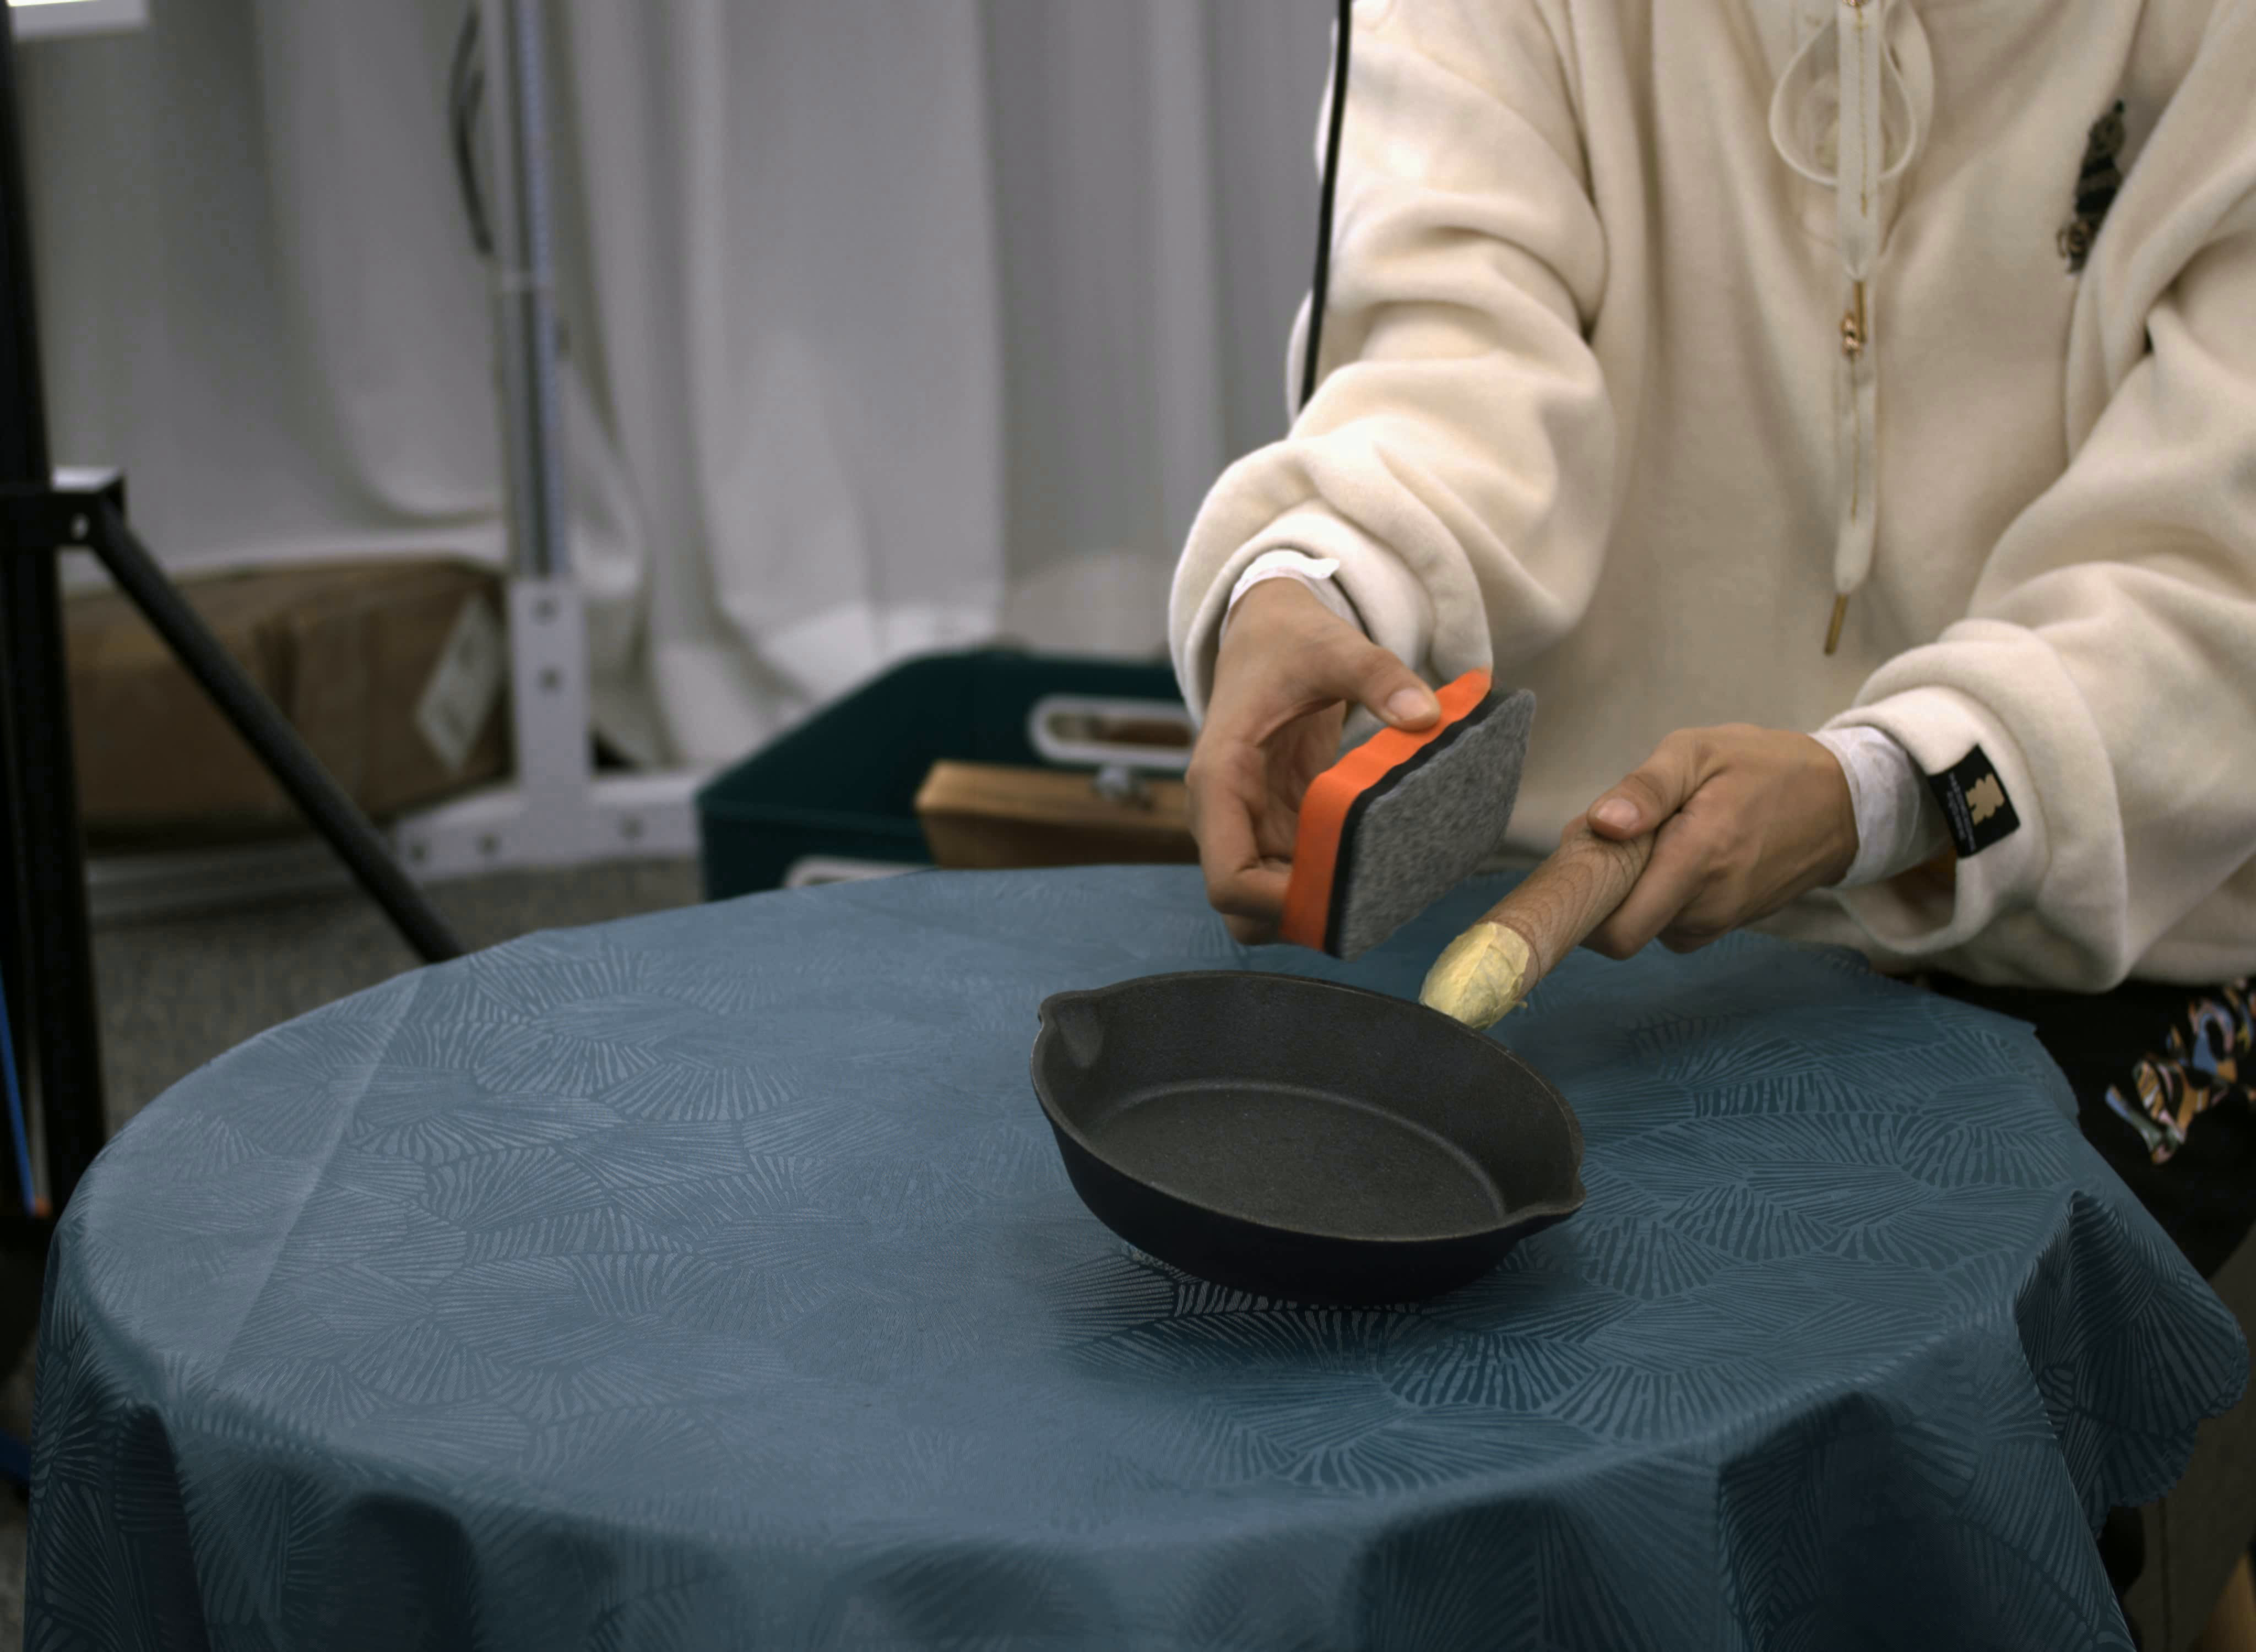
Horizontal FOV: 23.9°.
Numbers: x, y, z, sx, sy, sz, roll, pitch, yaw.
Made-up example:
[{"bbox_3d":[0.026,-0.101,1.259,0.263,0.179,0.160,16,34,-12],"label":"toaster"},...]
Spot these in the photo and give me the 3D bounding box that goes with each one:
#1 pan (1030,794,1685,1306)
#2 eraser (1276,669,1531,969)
[{"bbox_3d":[0.090,0.058,1.551,0.172,0.049,0.319,20,28,25],"label":"pan"},{"bbox_3d":[0.084,-0.003,1.602,0.023,0.059,0.106,24,34,25],"label":"eraser"}]
